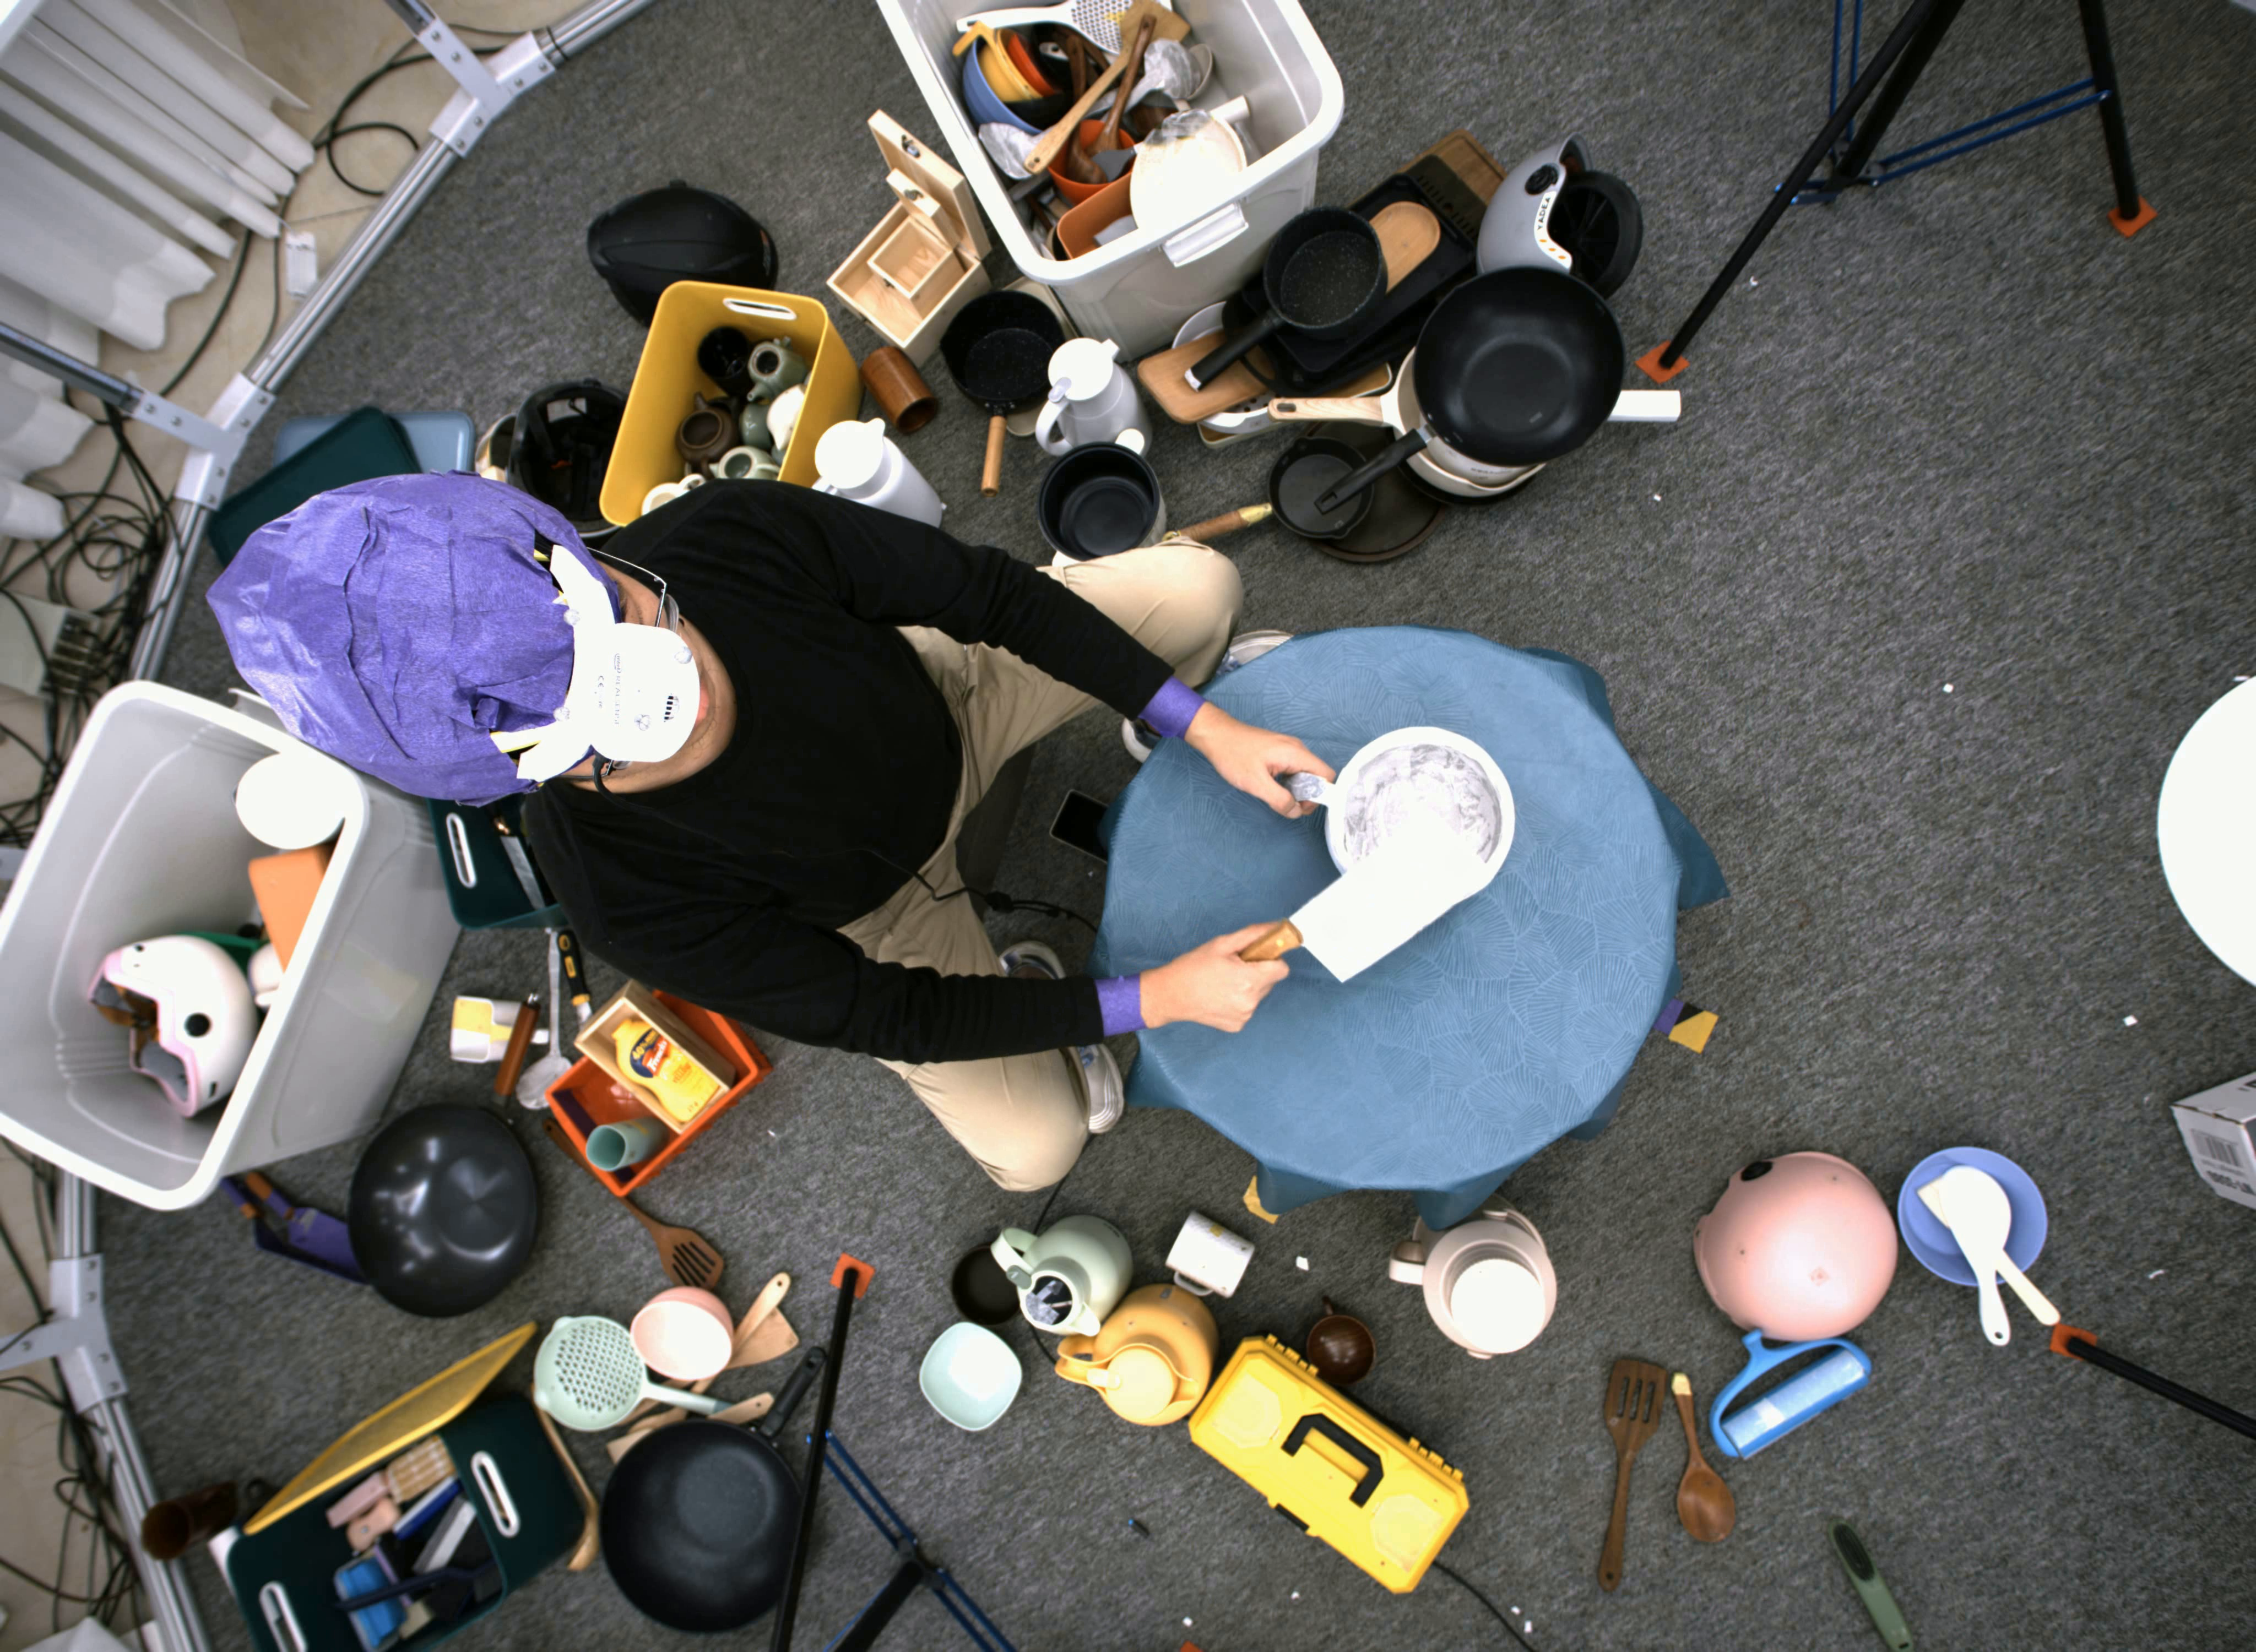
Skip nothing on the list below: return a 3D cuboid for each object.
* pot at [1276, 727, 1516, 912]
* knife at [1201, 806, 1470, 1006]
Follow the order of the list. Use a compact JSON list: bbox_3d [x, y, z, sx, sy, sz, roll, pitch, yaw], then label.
[{"bbox_3d":[0.263,-0.011,1.390,0.234,0.137,0.178,16,89,6],"label":"pot"},{"bbox_3d":[0.202,0.098,1.350,0.093,0.020,0.312,42,119,-11],"label":"knife"}]
